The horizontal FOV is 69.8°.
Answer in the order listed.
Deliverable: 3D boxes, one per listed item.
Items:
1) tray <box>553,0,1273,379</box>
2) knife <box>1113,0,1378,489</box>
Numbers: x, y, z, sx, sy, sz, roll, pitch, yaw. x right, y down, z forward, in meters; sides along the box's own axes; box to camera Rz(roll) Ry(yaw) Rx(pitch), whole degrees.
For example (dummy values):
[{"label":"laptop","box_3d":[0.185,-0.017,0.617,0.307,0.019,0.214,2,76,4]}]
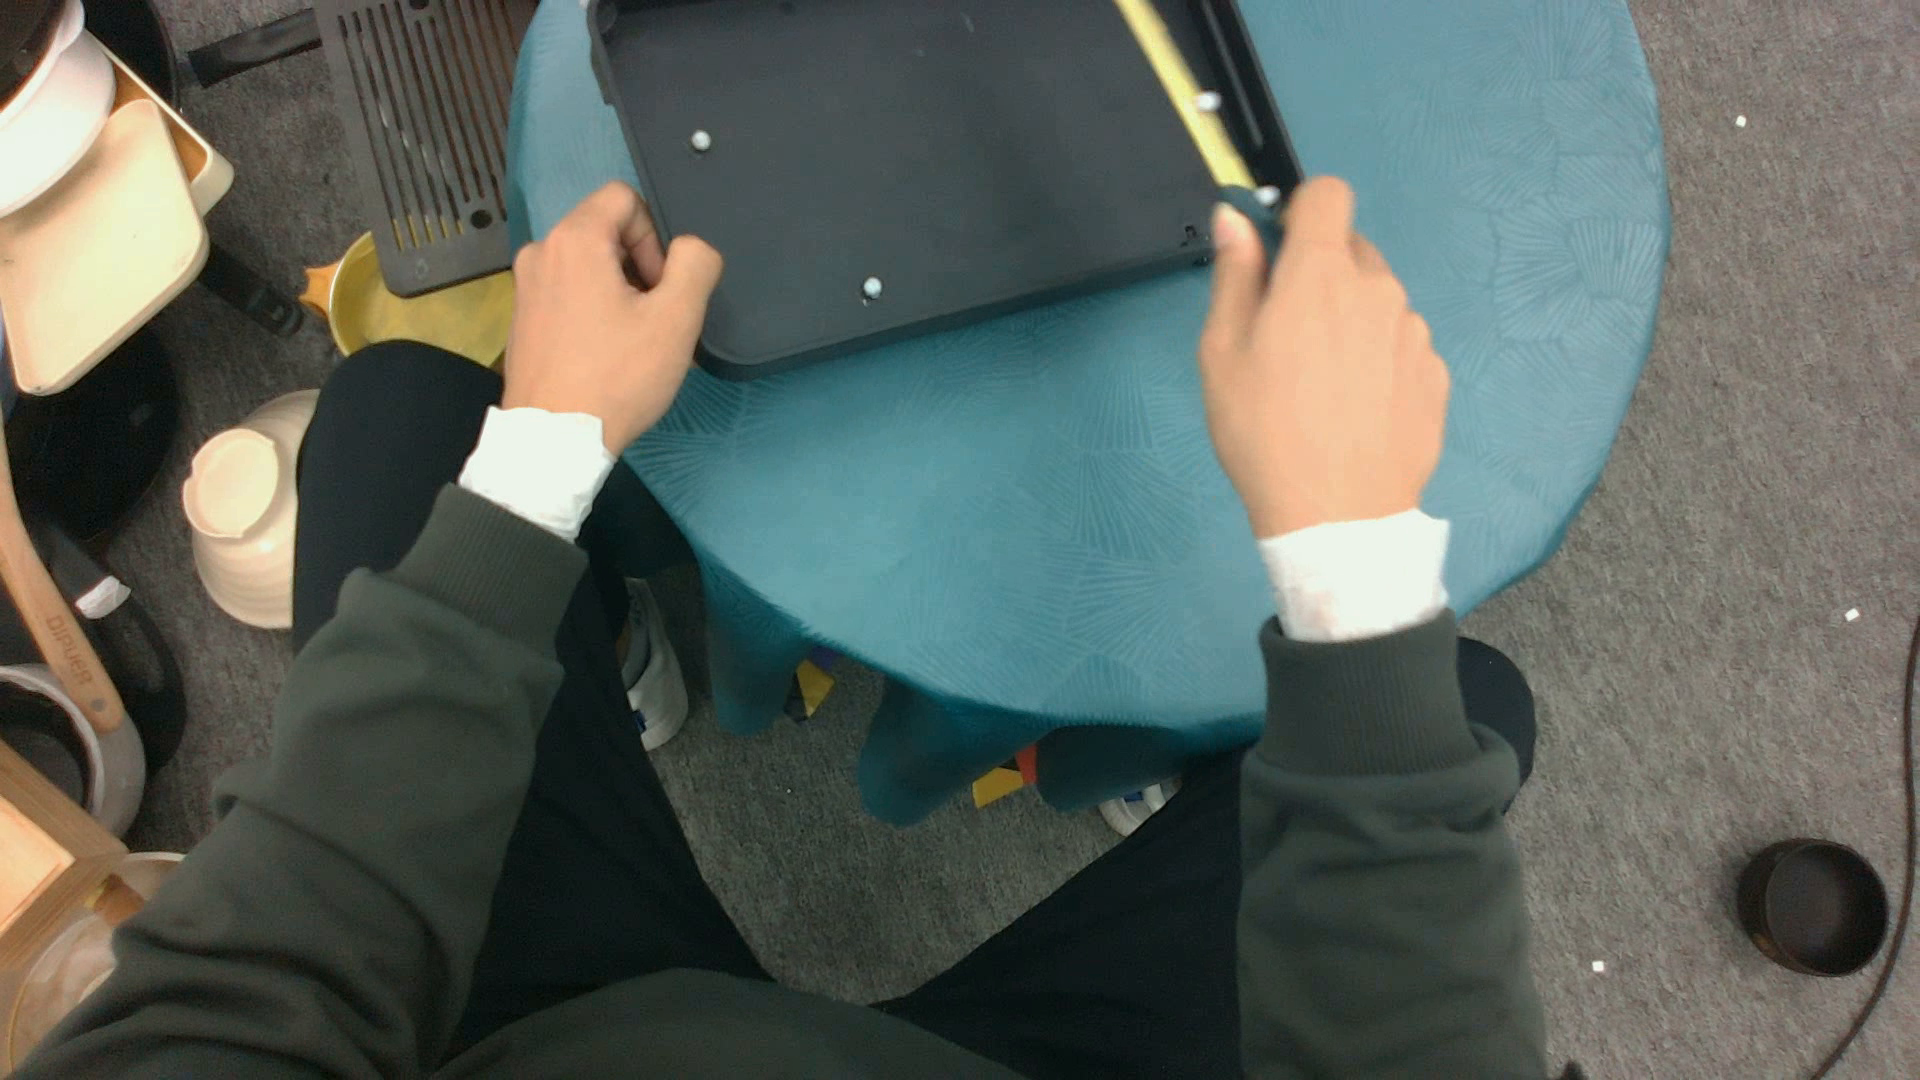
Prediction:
[{"label":"tray","box_3d":[-0.013,-0.200,0.654,0.319,0.037,0.184,-19,85,-22]},{"label":"knife","box_3d":[0.105,-0.154,0.570,0.027,0.081,0.289,-27,82,27]}]
